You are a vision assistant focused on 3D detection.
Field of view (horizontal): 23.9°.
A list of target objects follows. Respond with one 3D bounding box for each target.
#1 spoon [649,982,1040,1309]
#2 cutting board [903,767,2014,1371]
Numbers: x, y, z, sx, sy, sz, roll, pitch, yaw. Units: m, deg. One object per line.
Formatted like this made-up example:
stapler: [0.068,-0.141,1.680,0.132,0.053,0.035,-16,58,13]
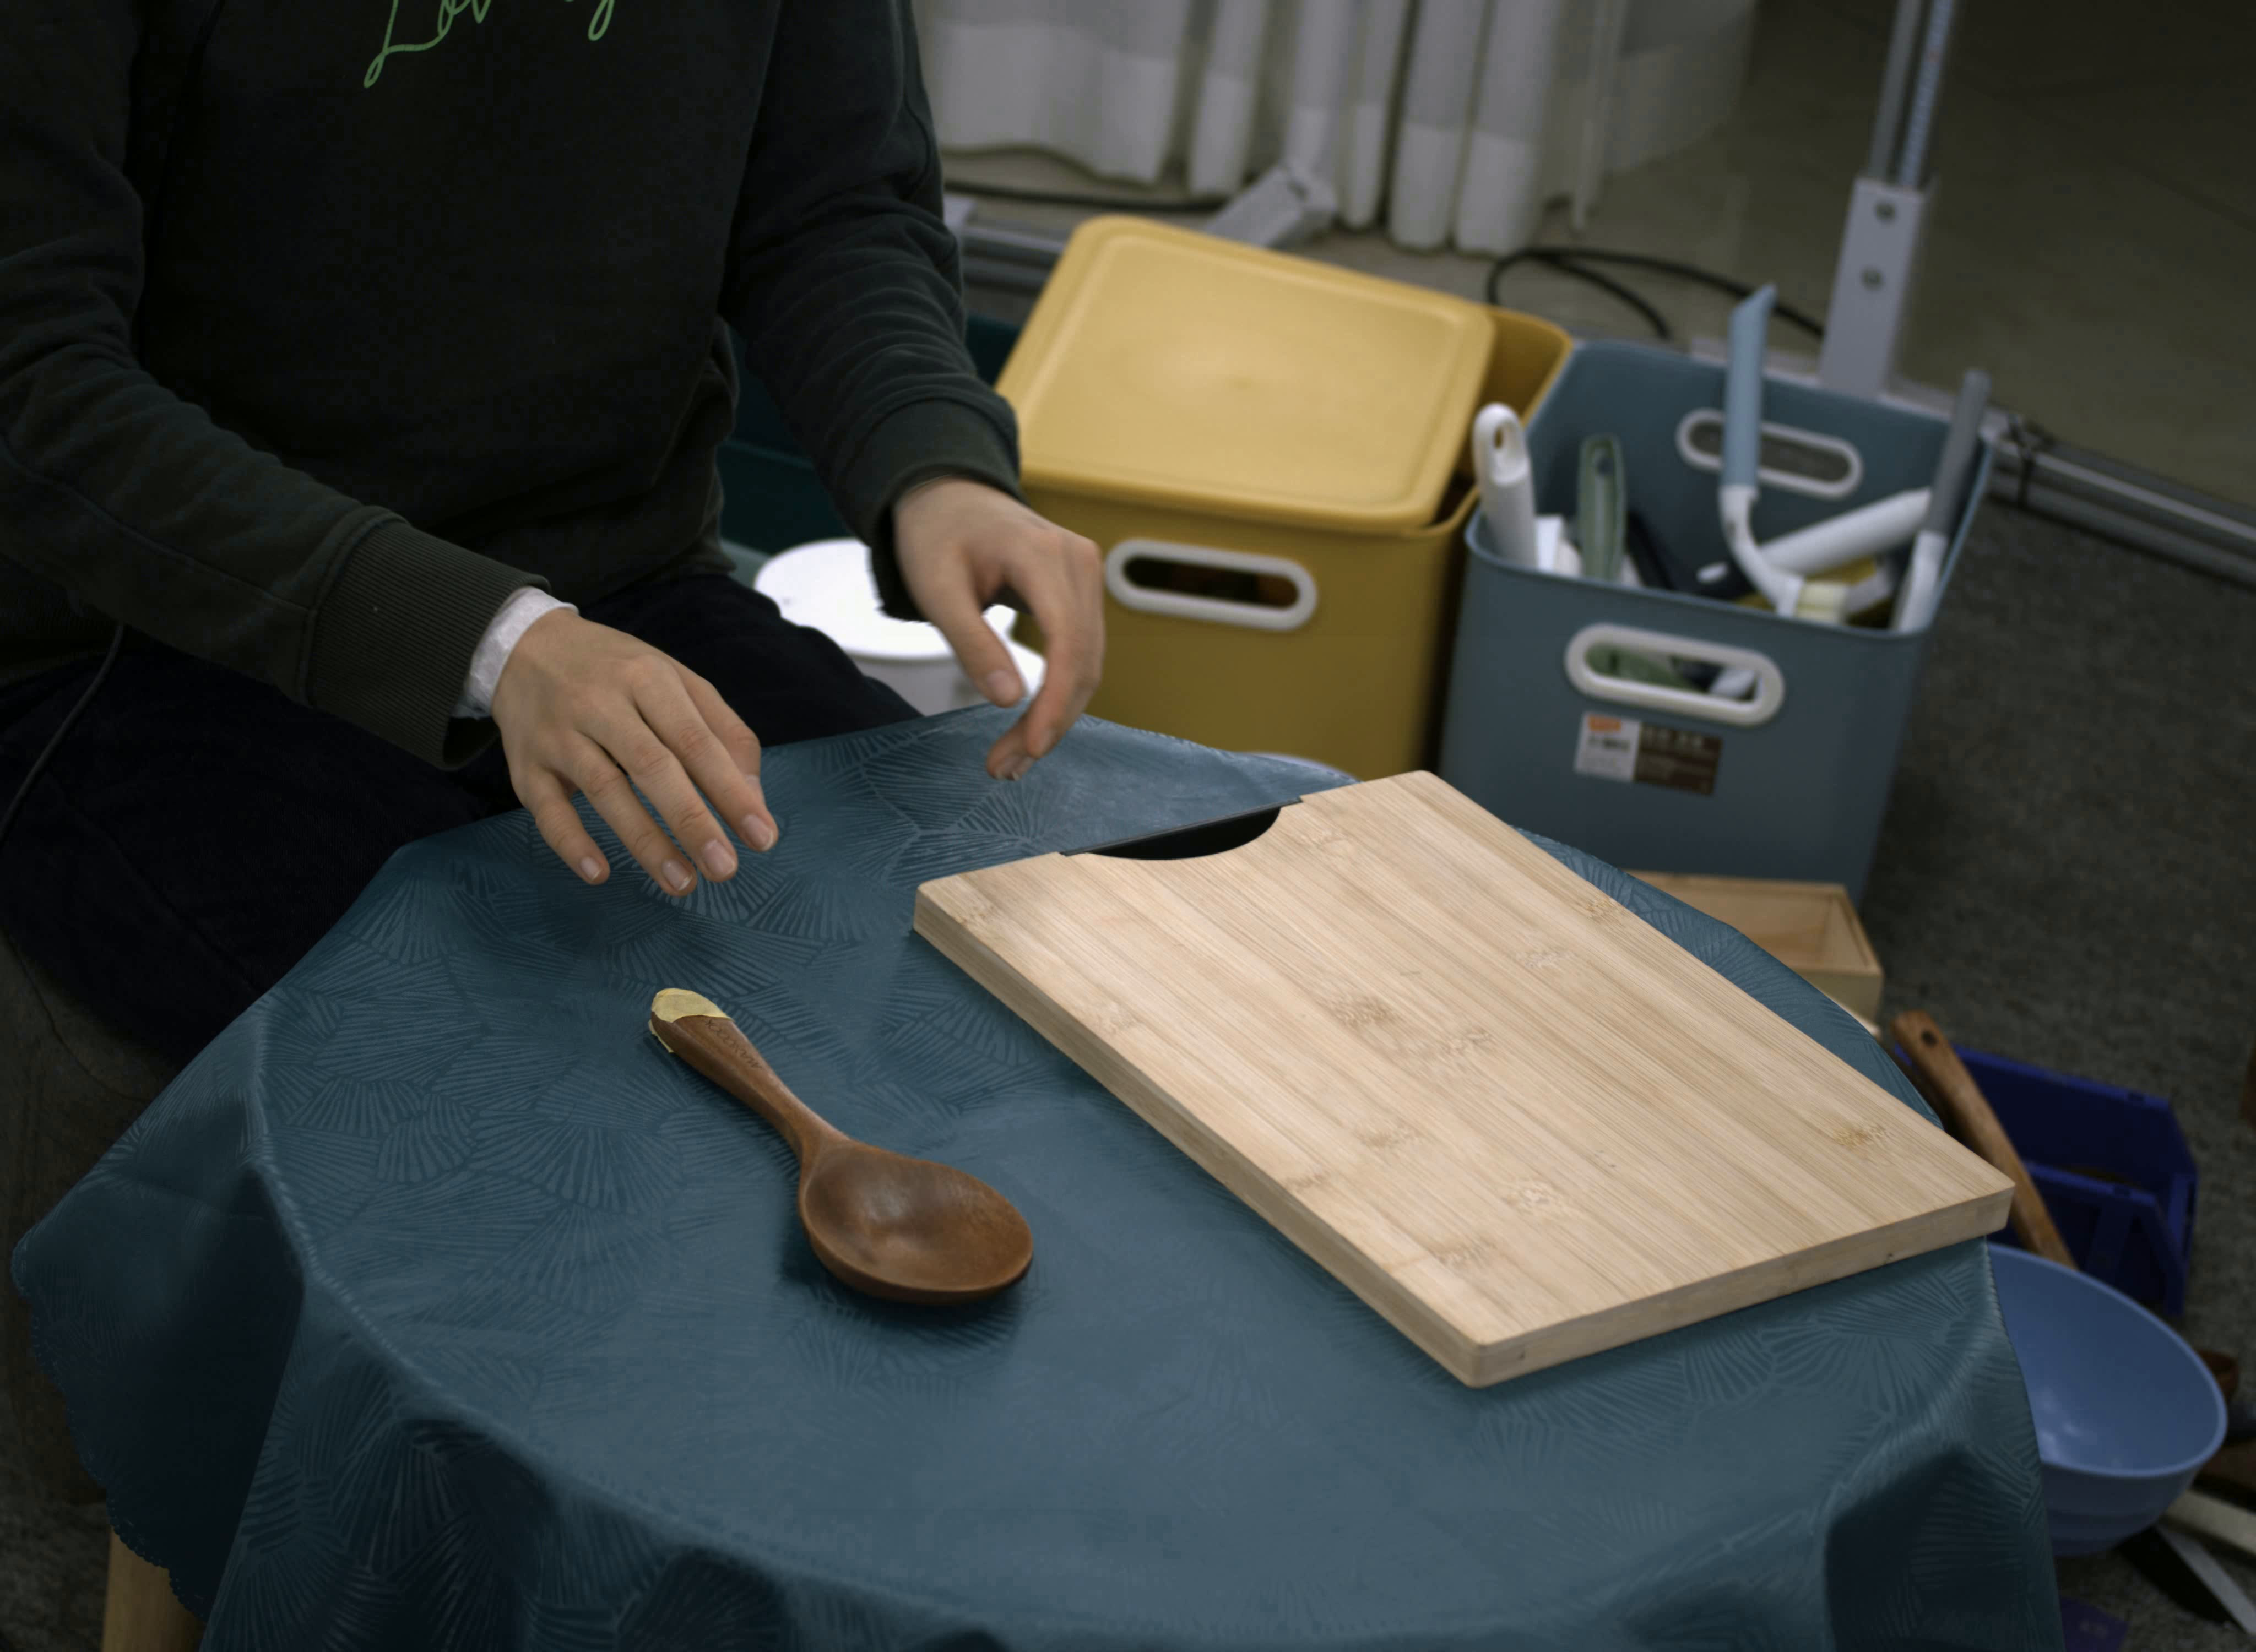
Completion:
spoon: [-0.103,0.107,1.789,0.075,0.017,0.218,-13,33,-30]
cutting board: [0.111,0.079,1.897,0.249,0.023,0.352,-12,32,-34]
